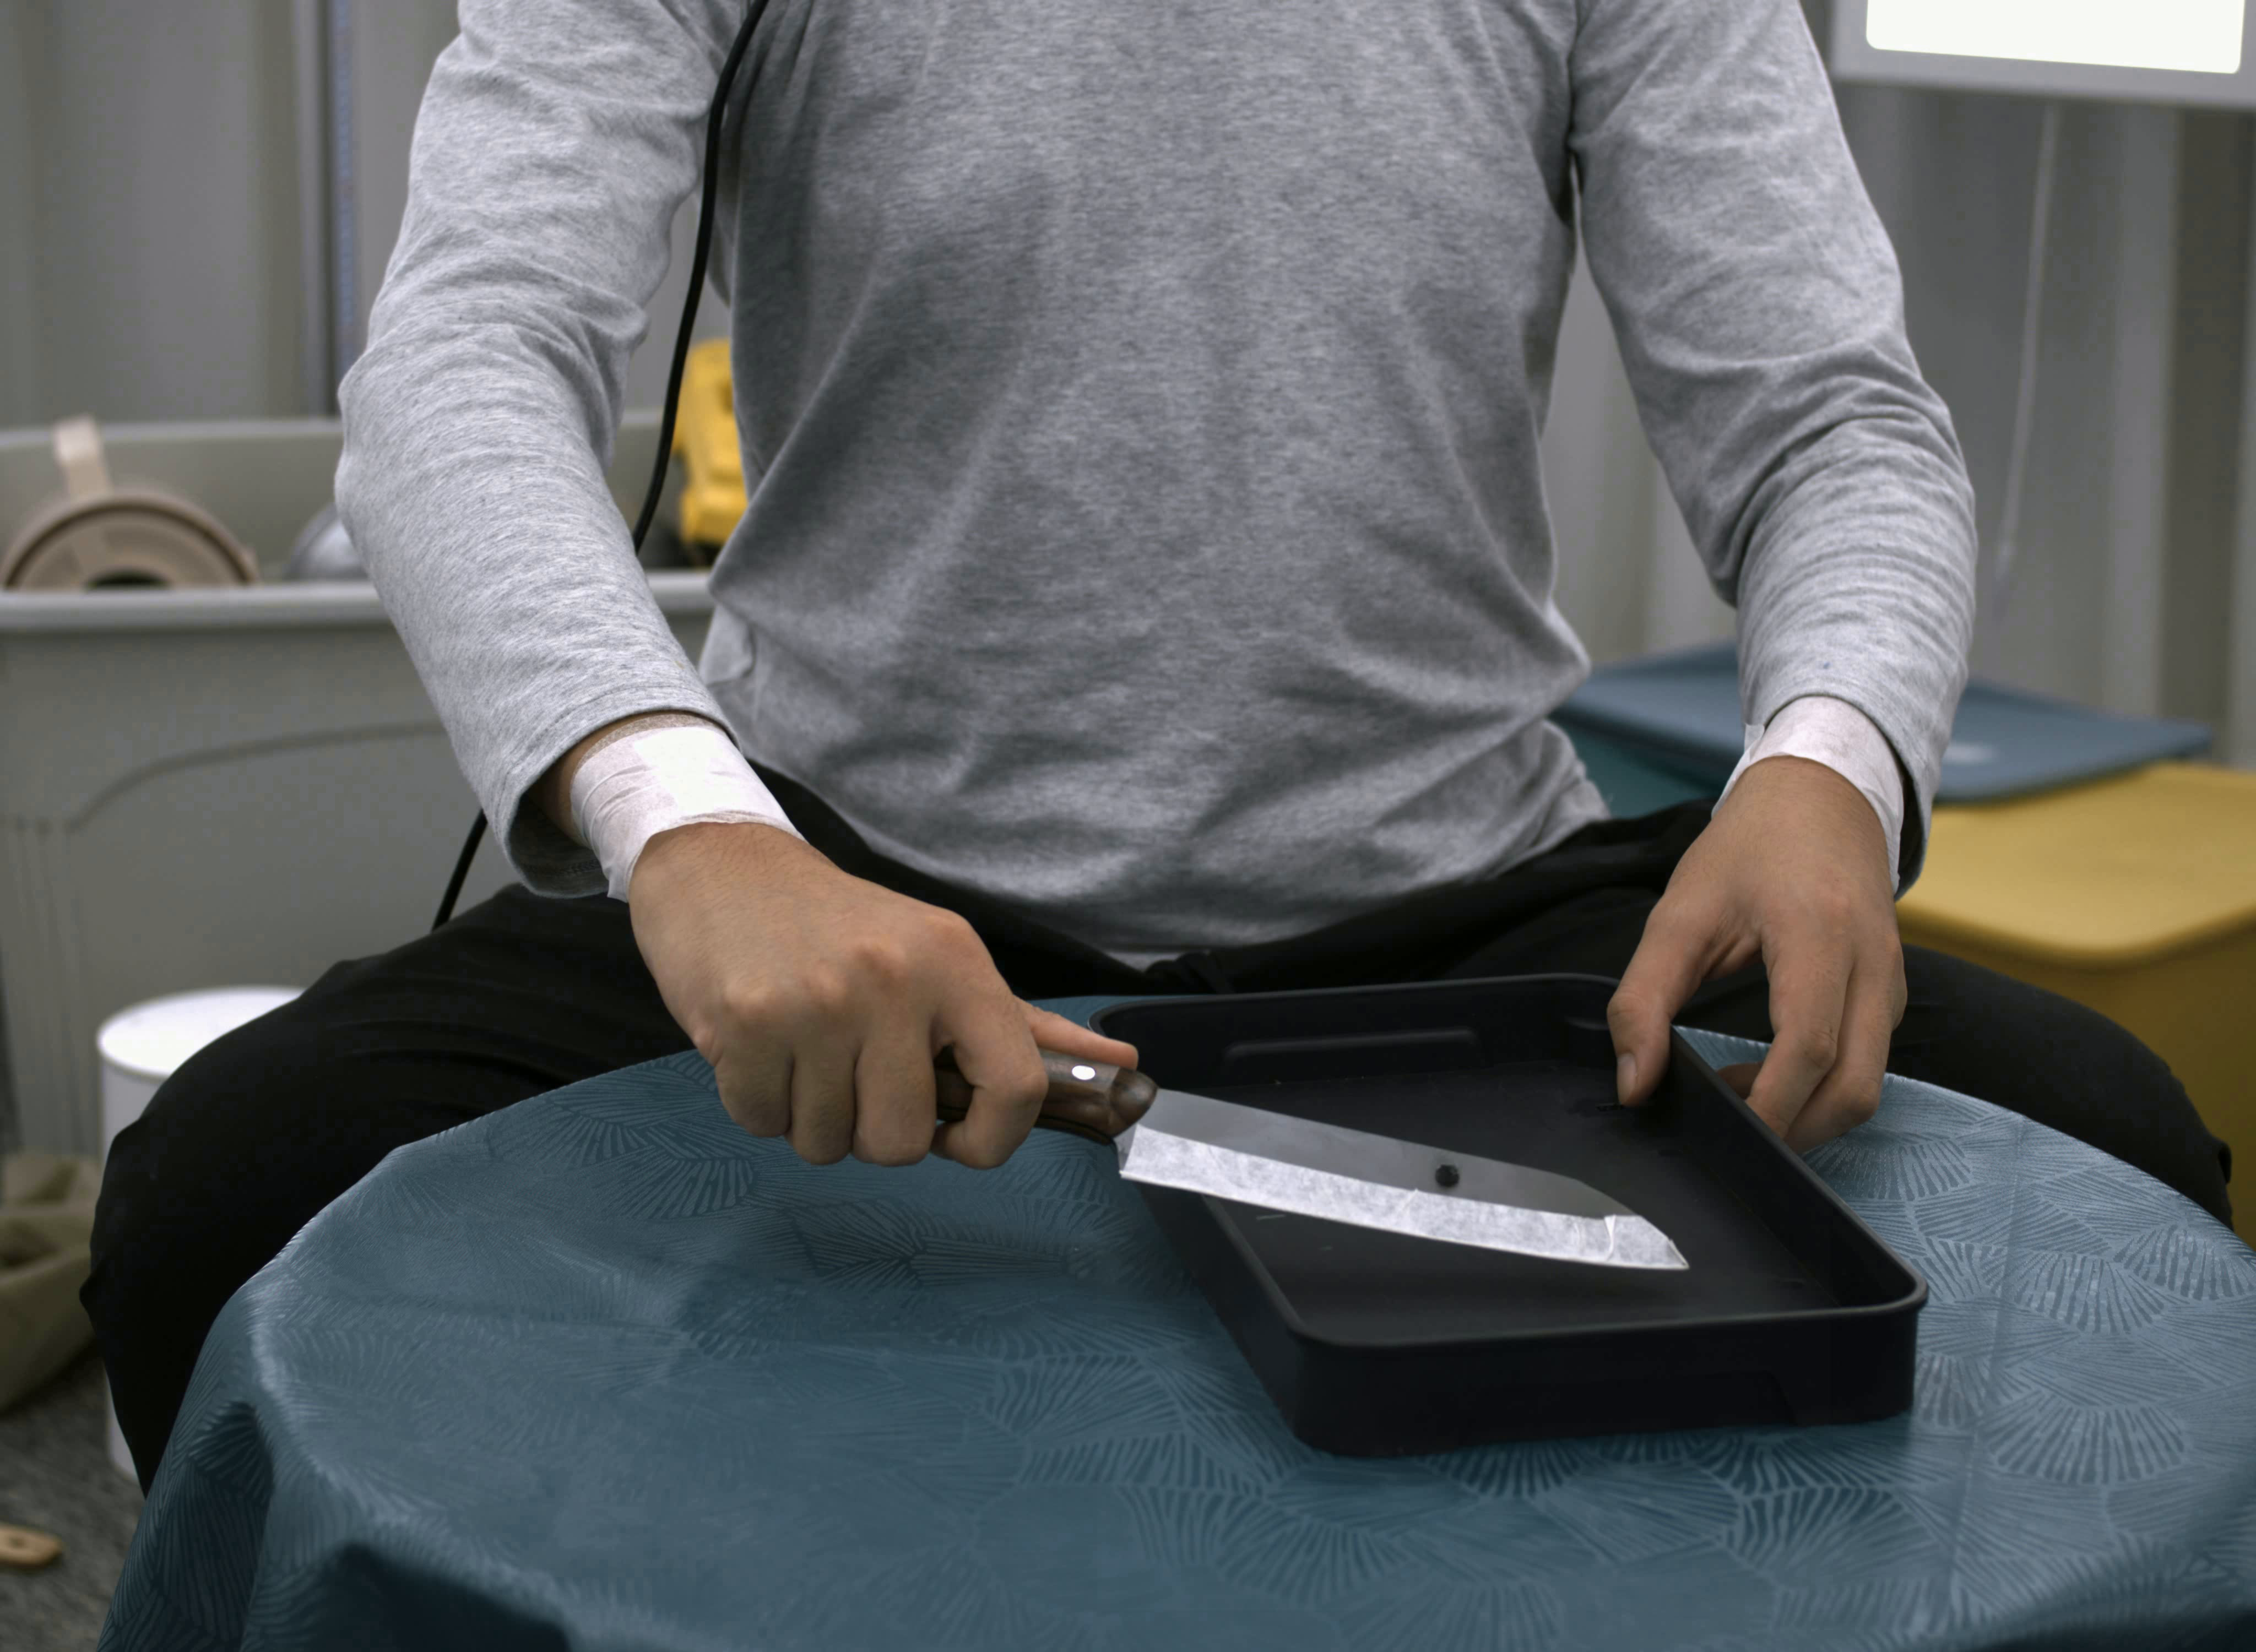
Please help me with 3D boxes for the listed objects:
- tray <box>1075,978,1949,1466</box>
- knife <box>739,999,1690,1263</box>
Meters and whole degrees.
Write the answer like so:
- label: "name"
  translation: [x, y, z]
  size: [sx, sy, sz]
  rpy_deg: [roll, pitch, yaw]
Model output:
- label: "tray"
  translation: [0.104, 0.111, 1.566]
  size: [0.184, 0.037, 0.315]
  rpy_deg: [-3, 16, -14]
- label: "knife"
  translation: [0.024, 0.092, 1.542]
  size: [0.288, 0.020, 0.050]
  rpy_deg: [13, 37, 4]
